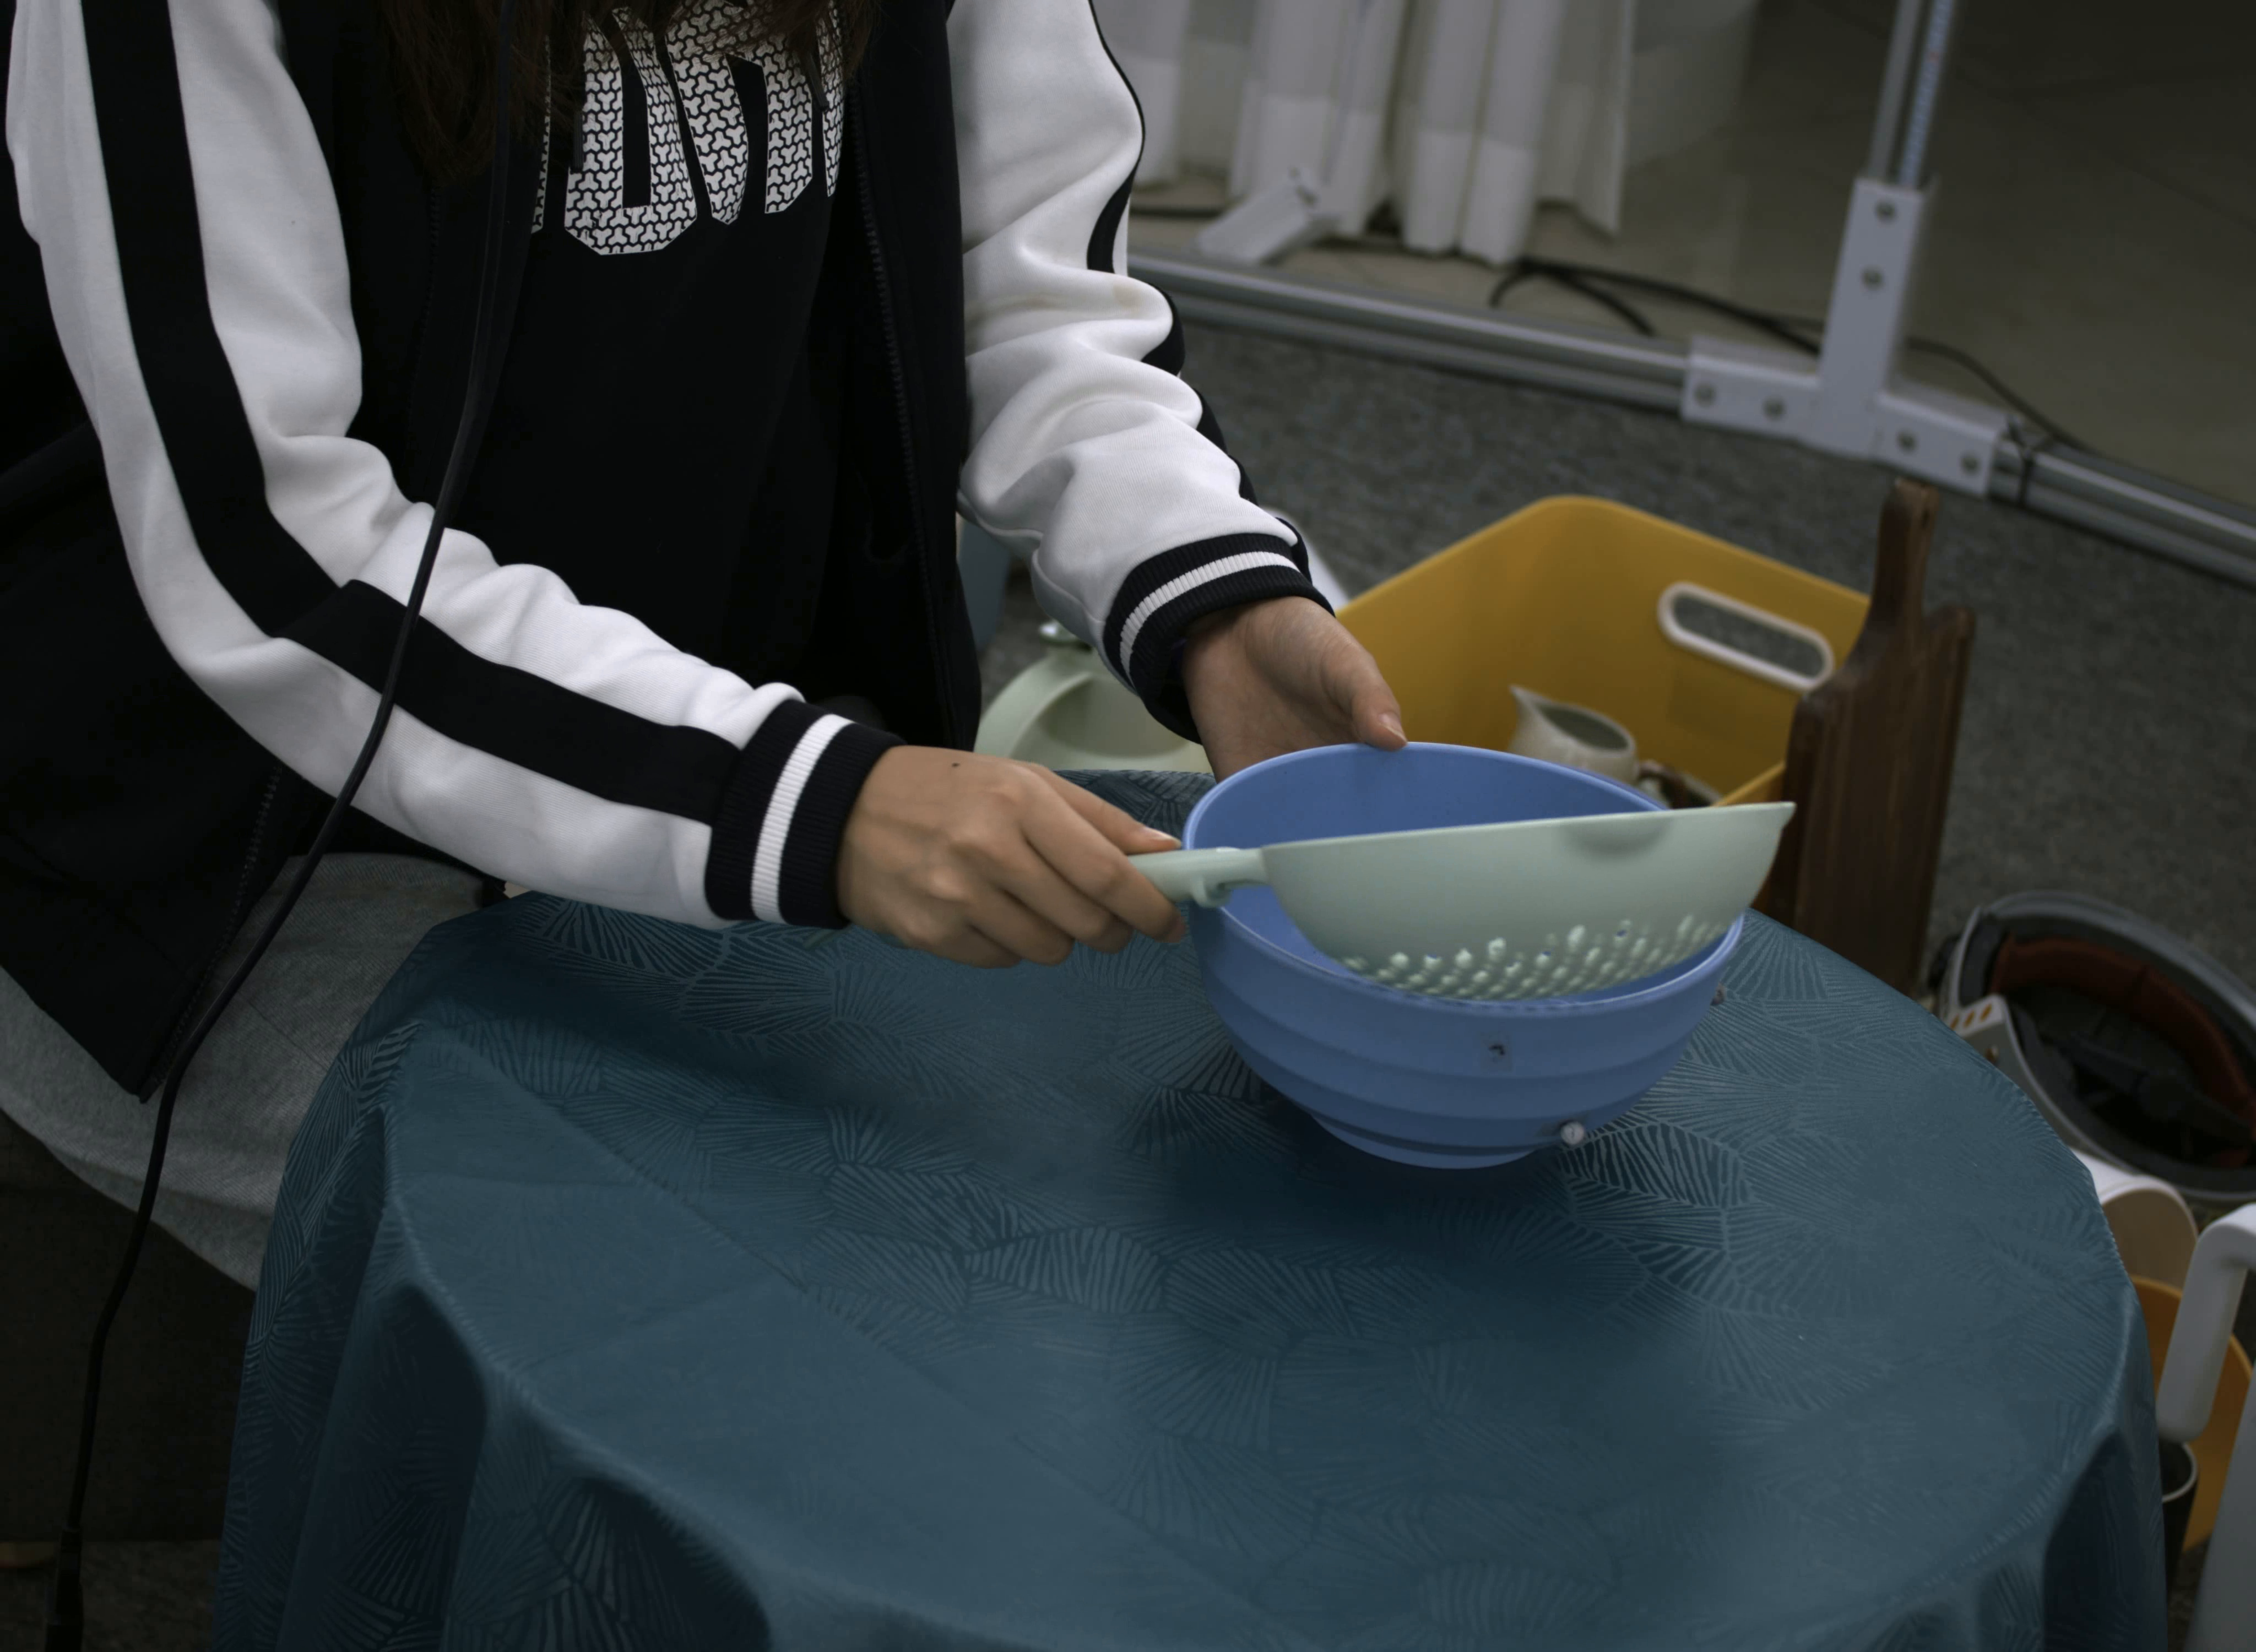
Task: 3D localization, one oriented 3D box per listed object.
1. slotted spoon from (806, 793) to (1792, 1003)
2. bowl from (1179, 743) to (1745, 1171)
[{"bbox_3d":[0.044,0.020,1.770,0.360,0.075,0.168,3,3,30],"label":"slotted spoon"},{"bbox_3d":[0.111,0.056,1.855,0.196,0.095,0.198,5,27,-3],"label":"bowl"}]
